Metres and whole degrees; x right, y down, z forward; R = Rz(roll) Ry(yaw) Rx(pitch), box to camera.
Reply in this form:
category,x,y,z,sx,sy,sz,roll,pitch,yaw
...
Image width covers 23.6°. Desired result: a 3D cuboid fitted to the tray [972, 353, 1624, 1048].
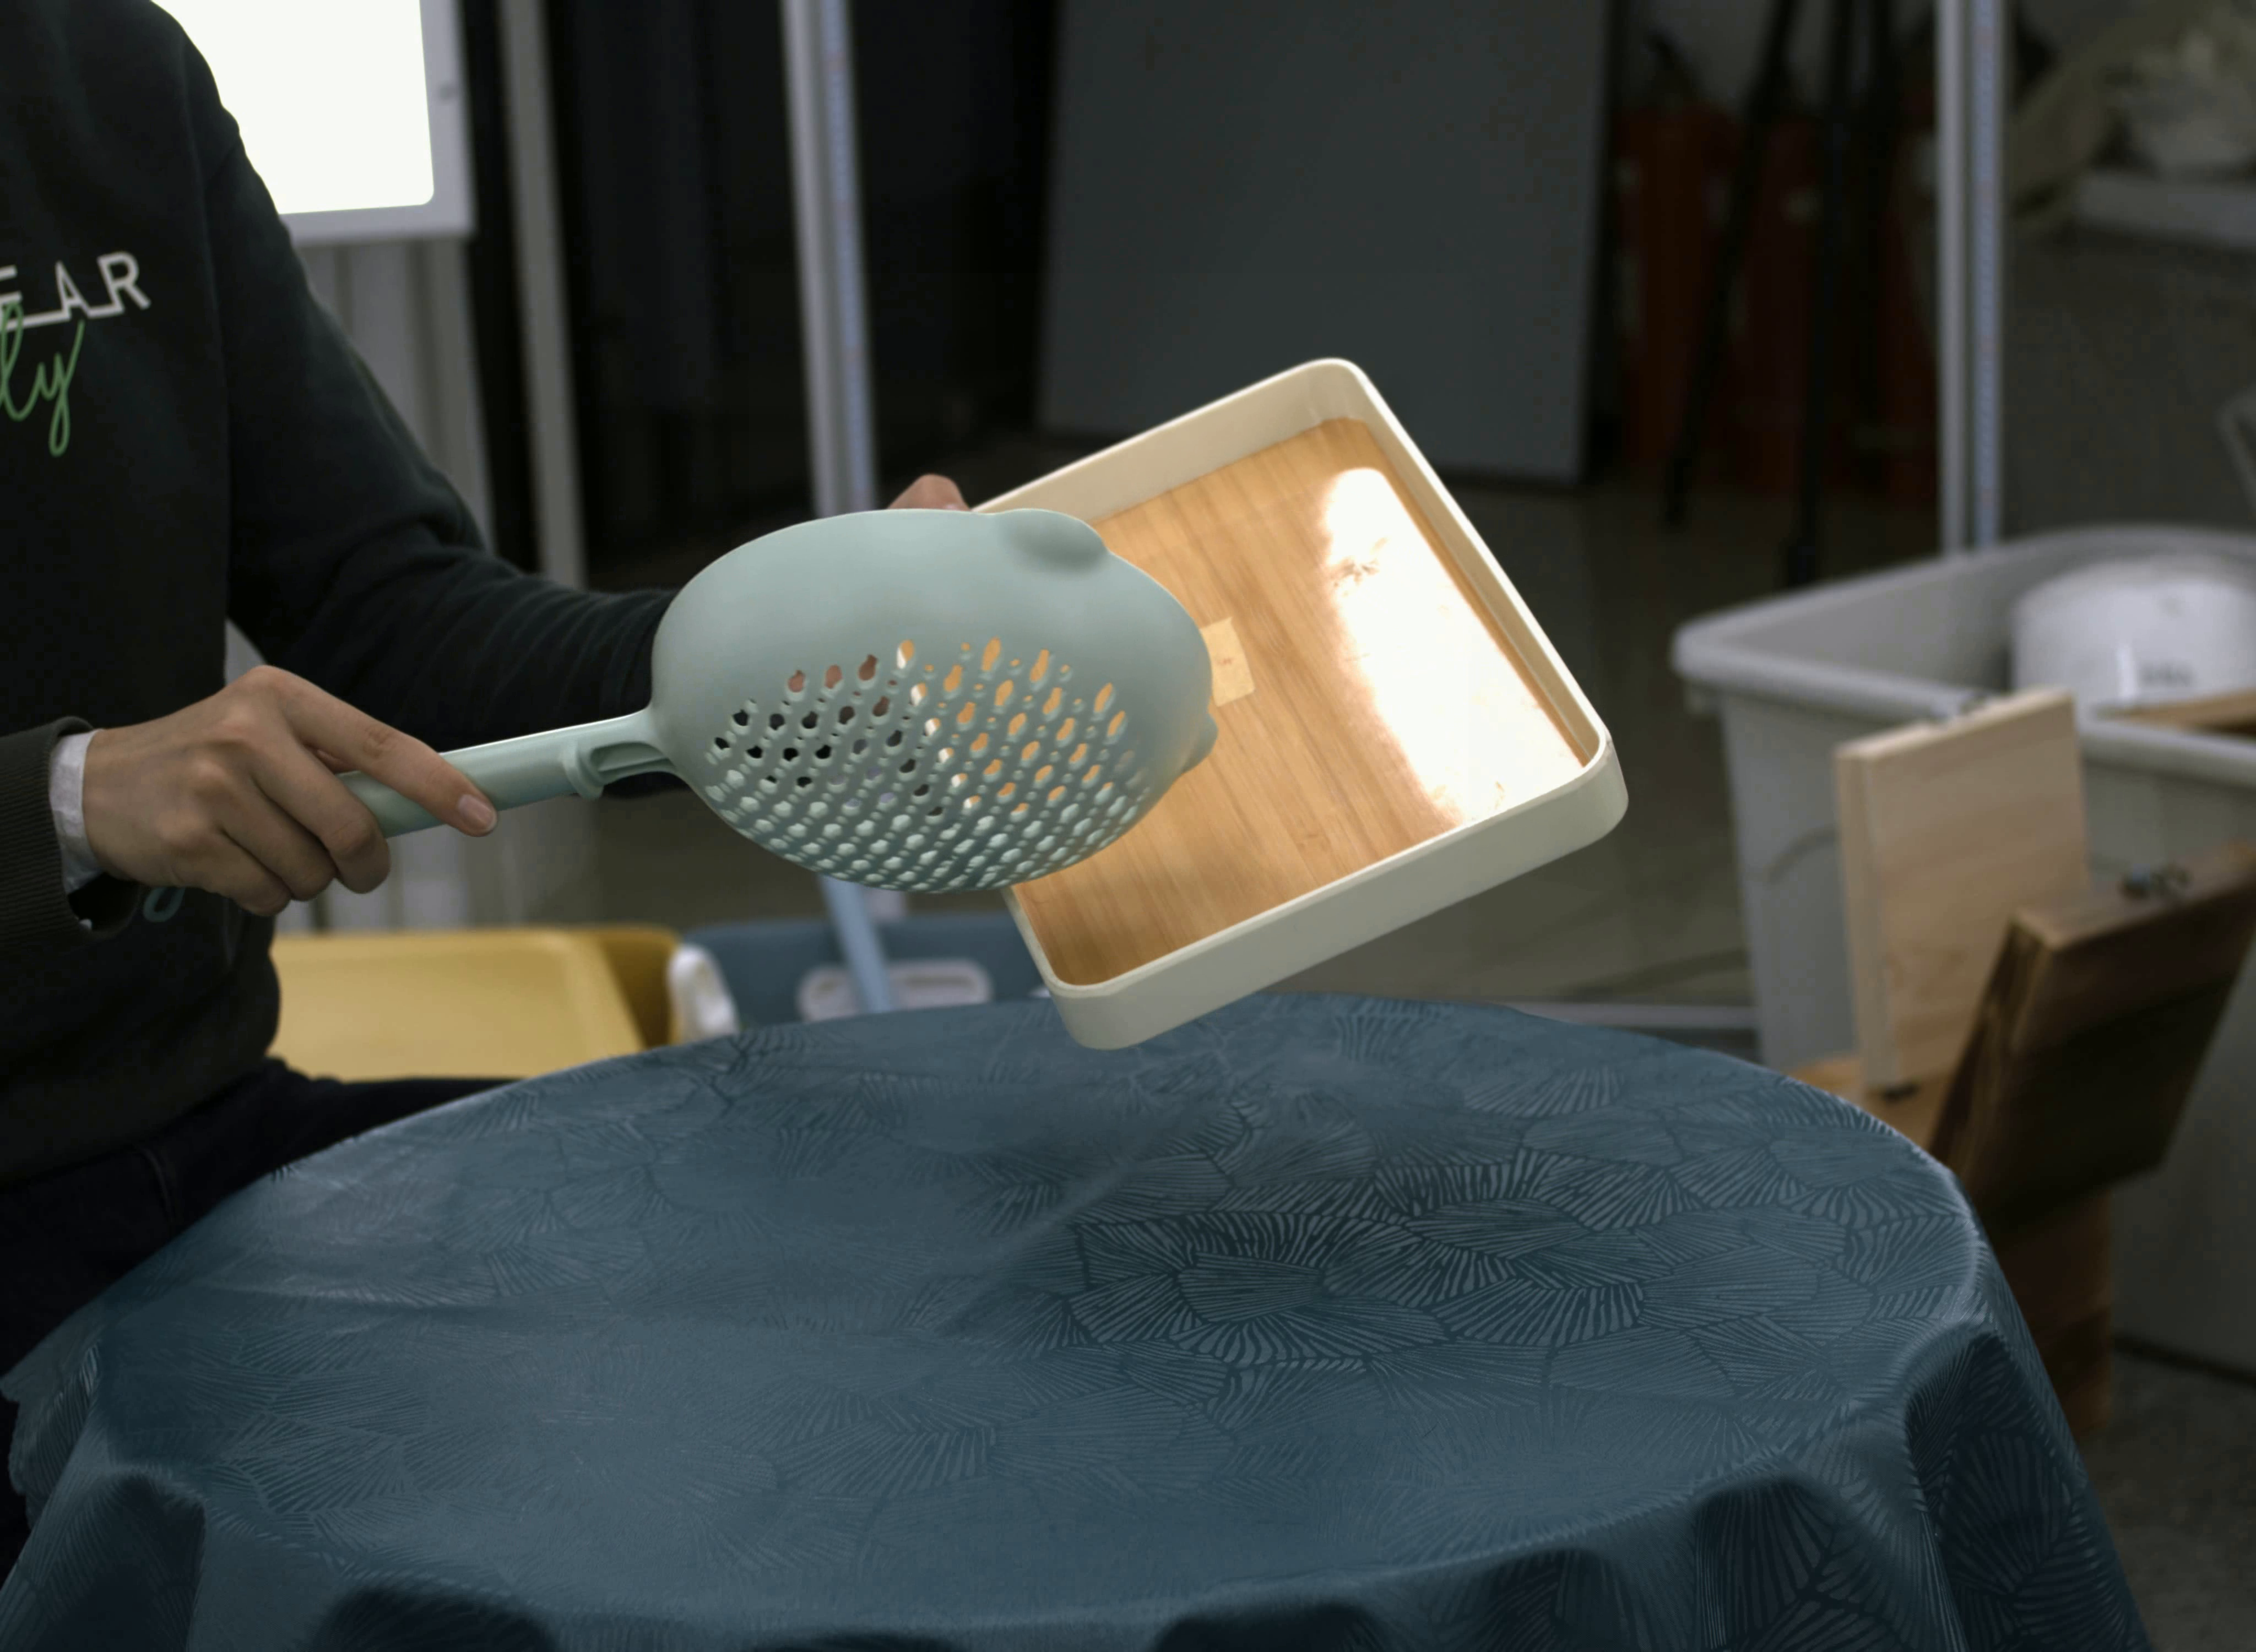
category,x,y,z,sx,sy,sz,roll,pitch,yaw
tray,0.030,-0.047,1.749,0.190,0.027,0.303,-24,33,-1

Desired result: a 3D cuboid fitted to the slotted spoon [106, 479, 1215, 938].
category,x,y,z,sx,sy,sz,roll,pitch,yaw
slotted spoon,-0.149,-0.018,1.649,0.358,0.168,0.076,-6,54,21
